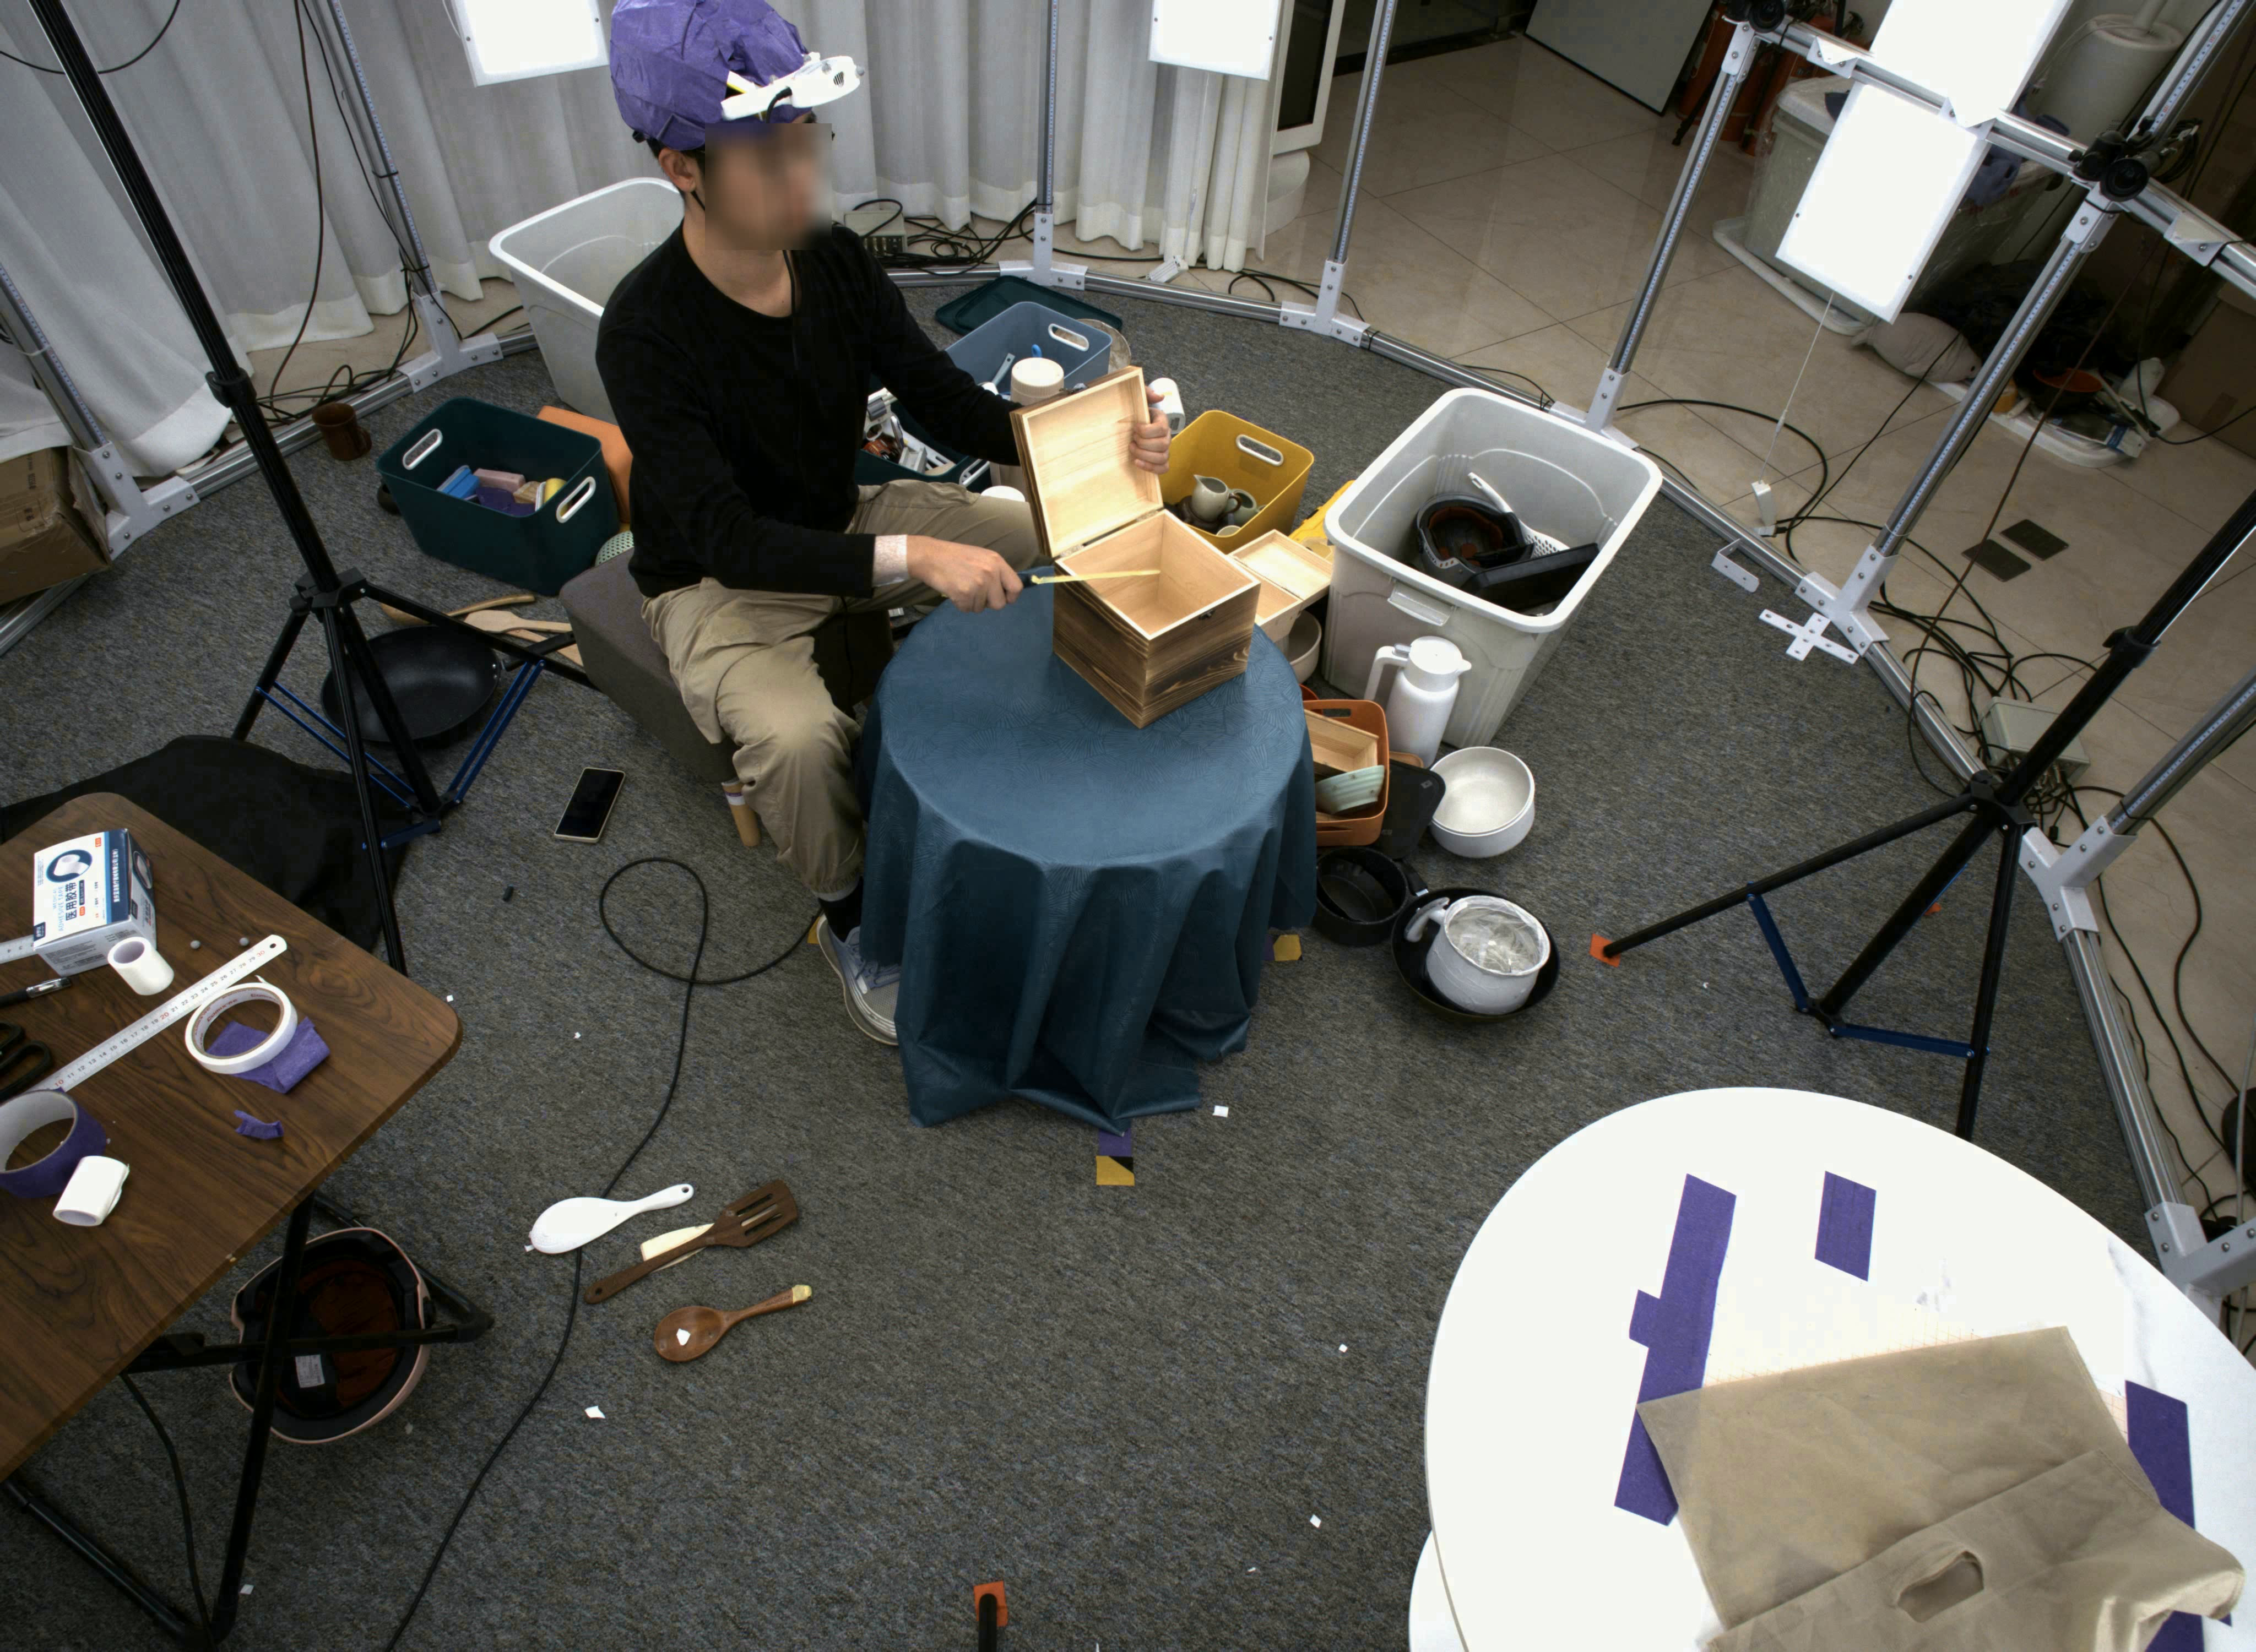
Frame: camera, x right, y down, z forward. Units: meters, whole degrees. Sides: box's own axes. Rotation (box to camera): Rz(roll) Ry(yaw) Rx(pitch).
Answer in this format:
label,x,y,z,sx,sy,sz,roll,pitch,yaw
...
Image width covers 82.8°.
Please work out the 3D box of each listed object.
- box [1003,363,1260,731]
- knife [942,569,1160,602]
label,x,y,z,sx,sy,sz,roll,pitch,yaw
box,0.005,-0.385,1.774,0.210,0.366,0.328,-31,57,-26
knife,-0.100,-0.322,1.700,0.289,0.027,0.082,-8,12,-7
